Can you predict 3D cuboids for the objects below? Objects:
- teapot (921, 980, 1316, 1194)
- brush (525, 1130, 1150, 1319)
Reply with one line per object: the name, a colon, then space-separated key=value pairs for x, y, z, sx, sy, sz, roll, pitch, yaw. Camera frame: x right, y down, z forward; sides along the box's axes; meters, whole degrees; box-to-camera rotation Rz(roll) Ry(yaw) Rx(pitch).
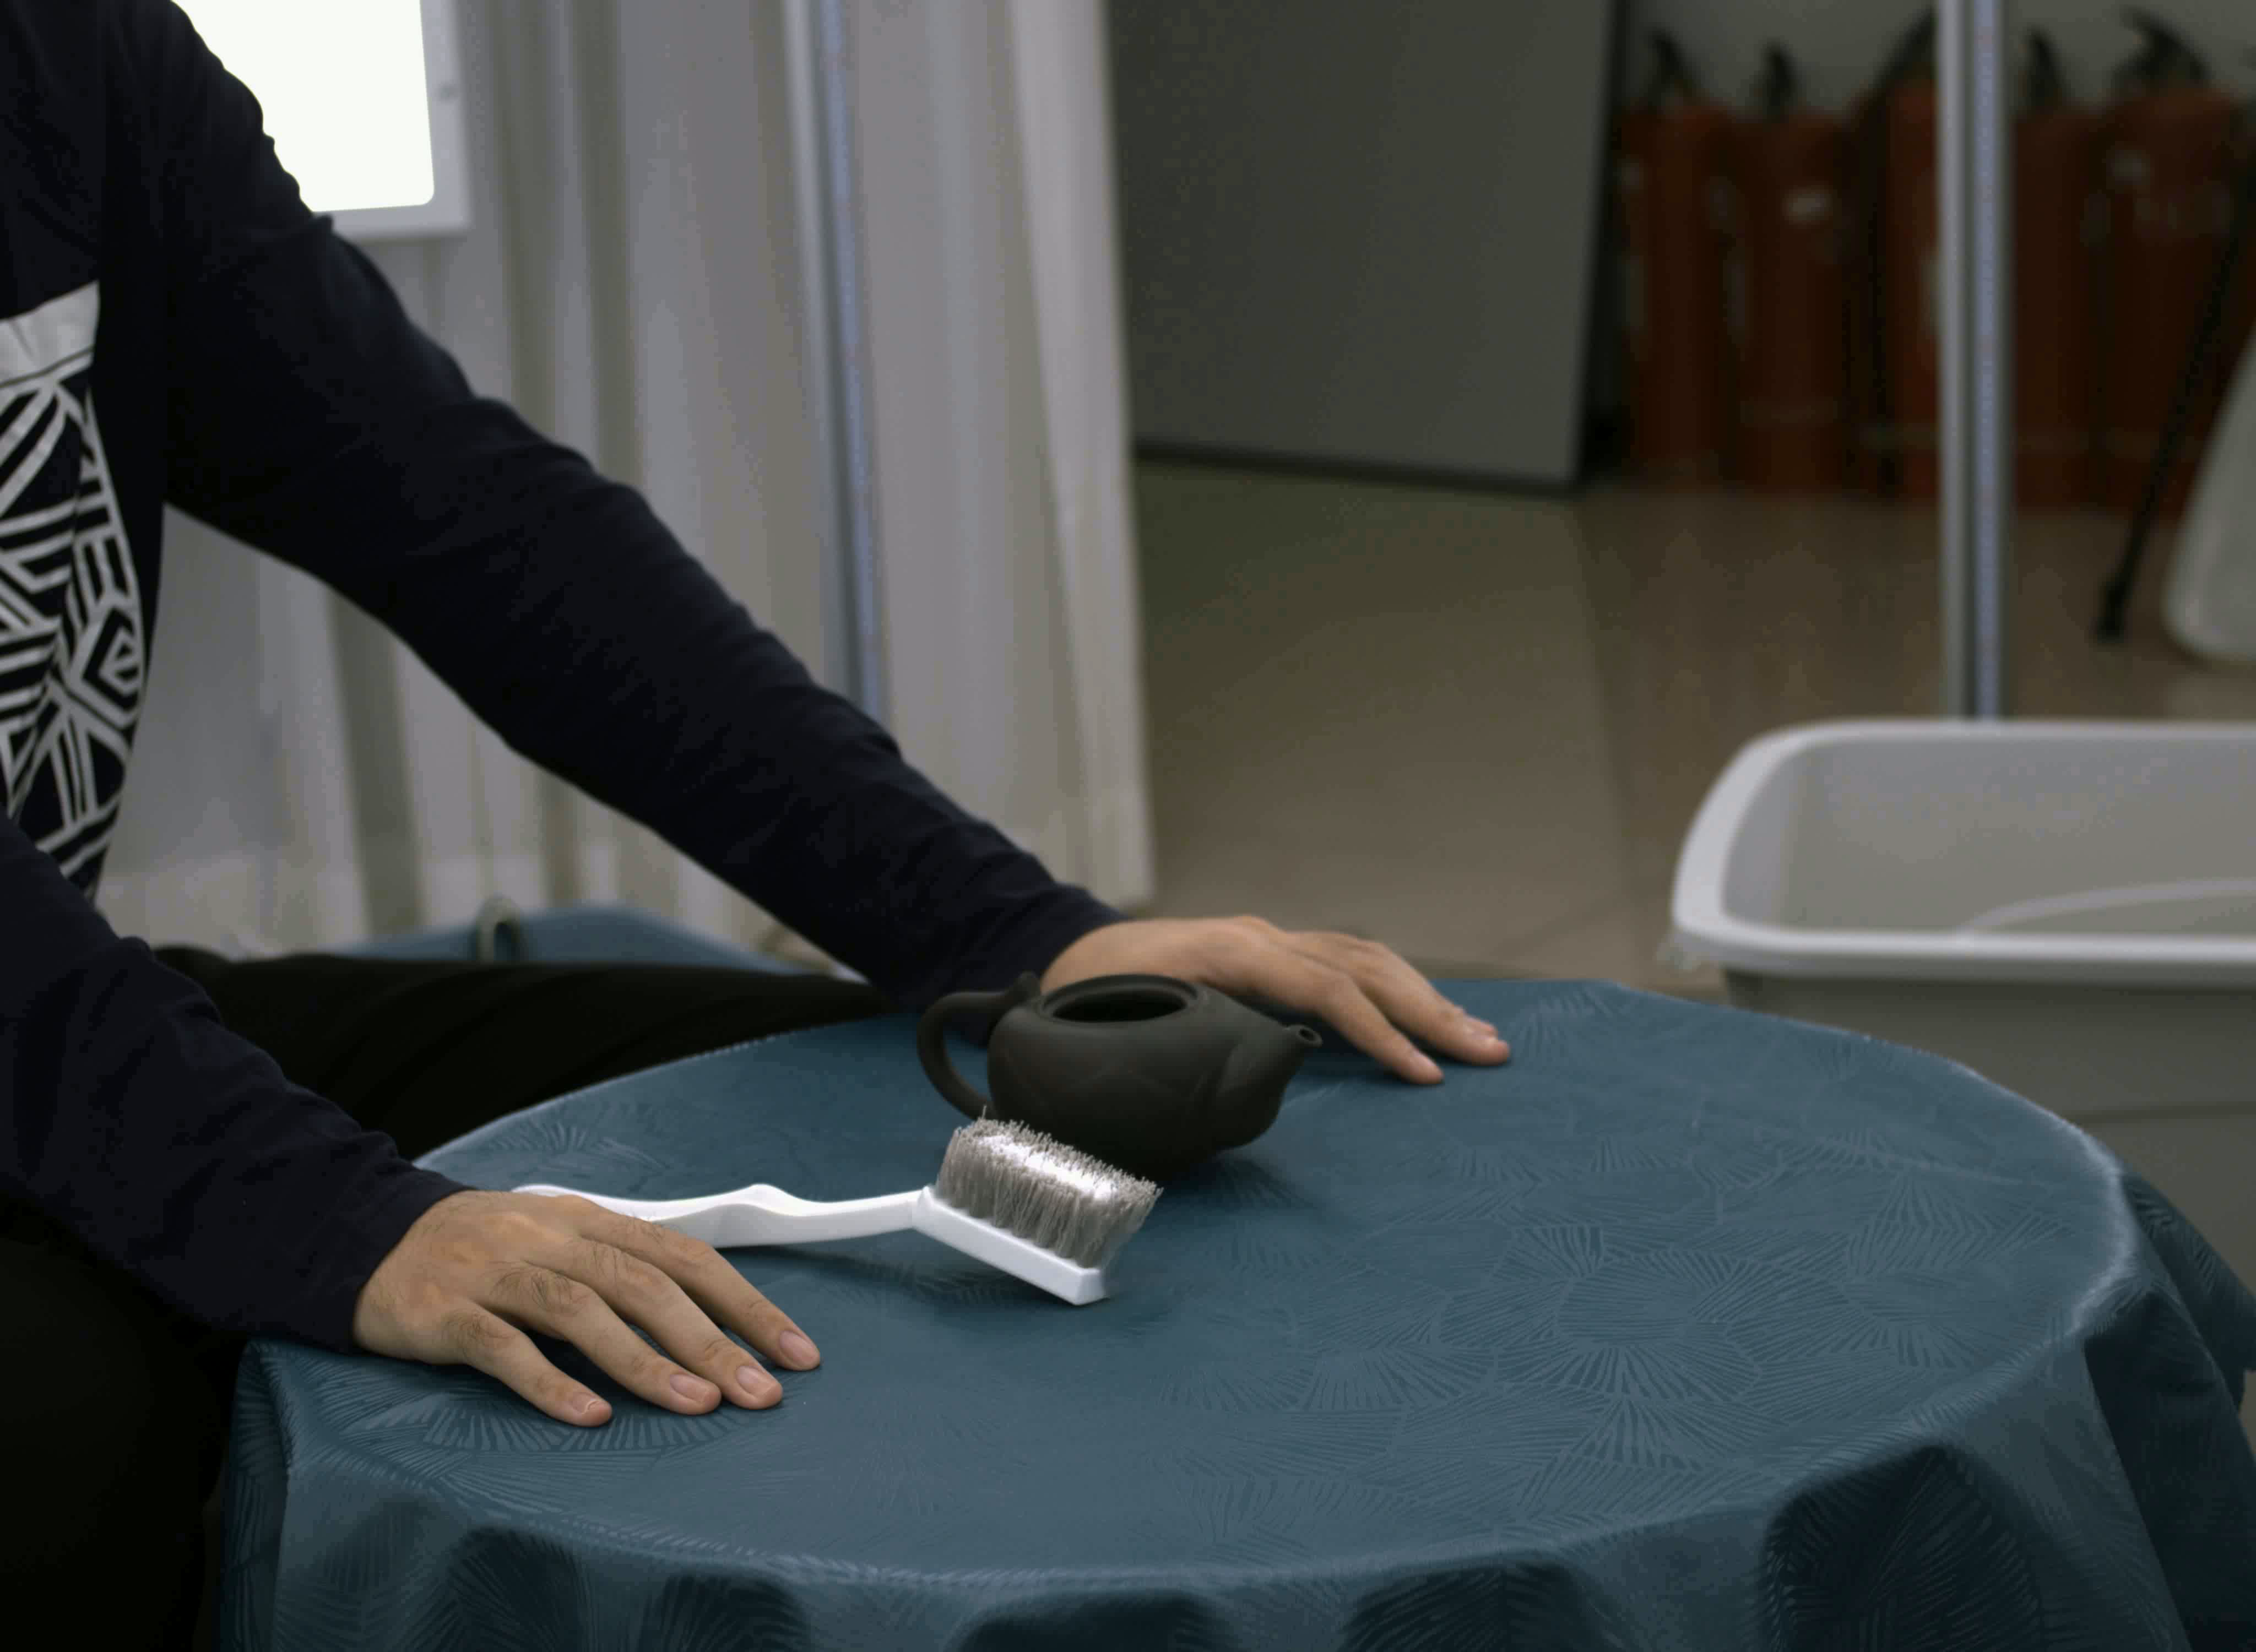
teapot: x=-0.004 y=0.085 z=1.797 sx=0.155 sy=0.065 sz=0.091 roll=3 pitch=16 yaw=31
brush: x=-0.099 y=0.116 z=1.727 sx=0.245 sy=0.051 sz=0.034 roll=6 pitch=22 yaw=35
